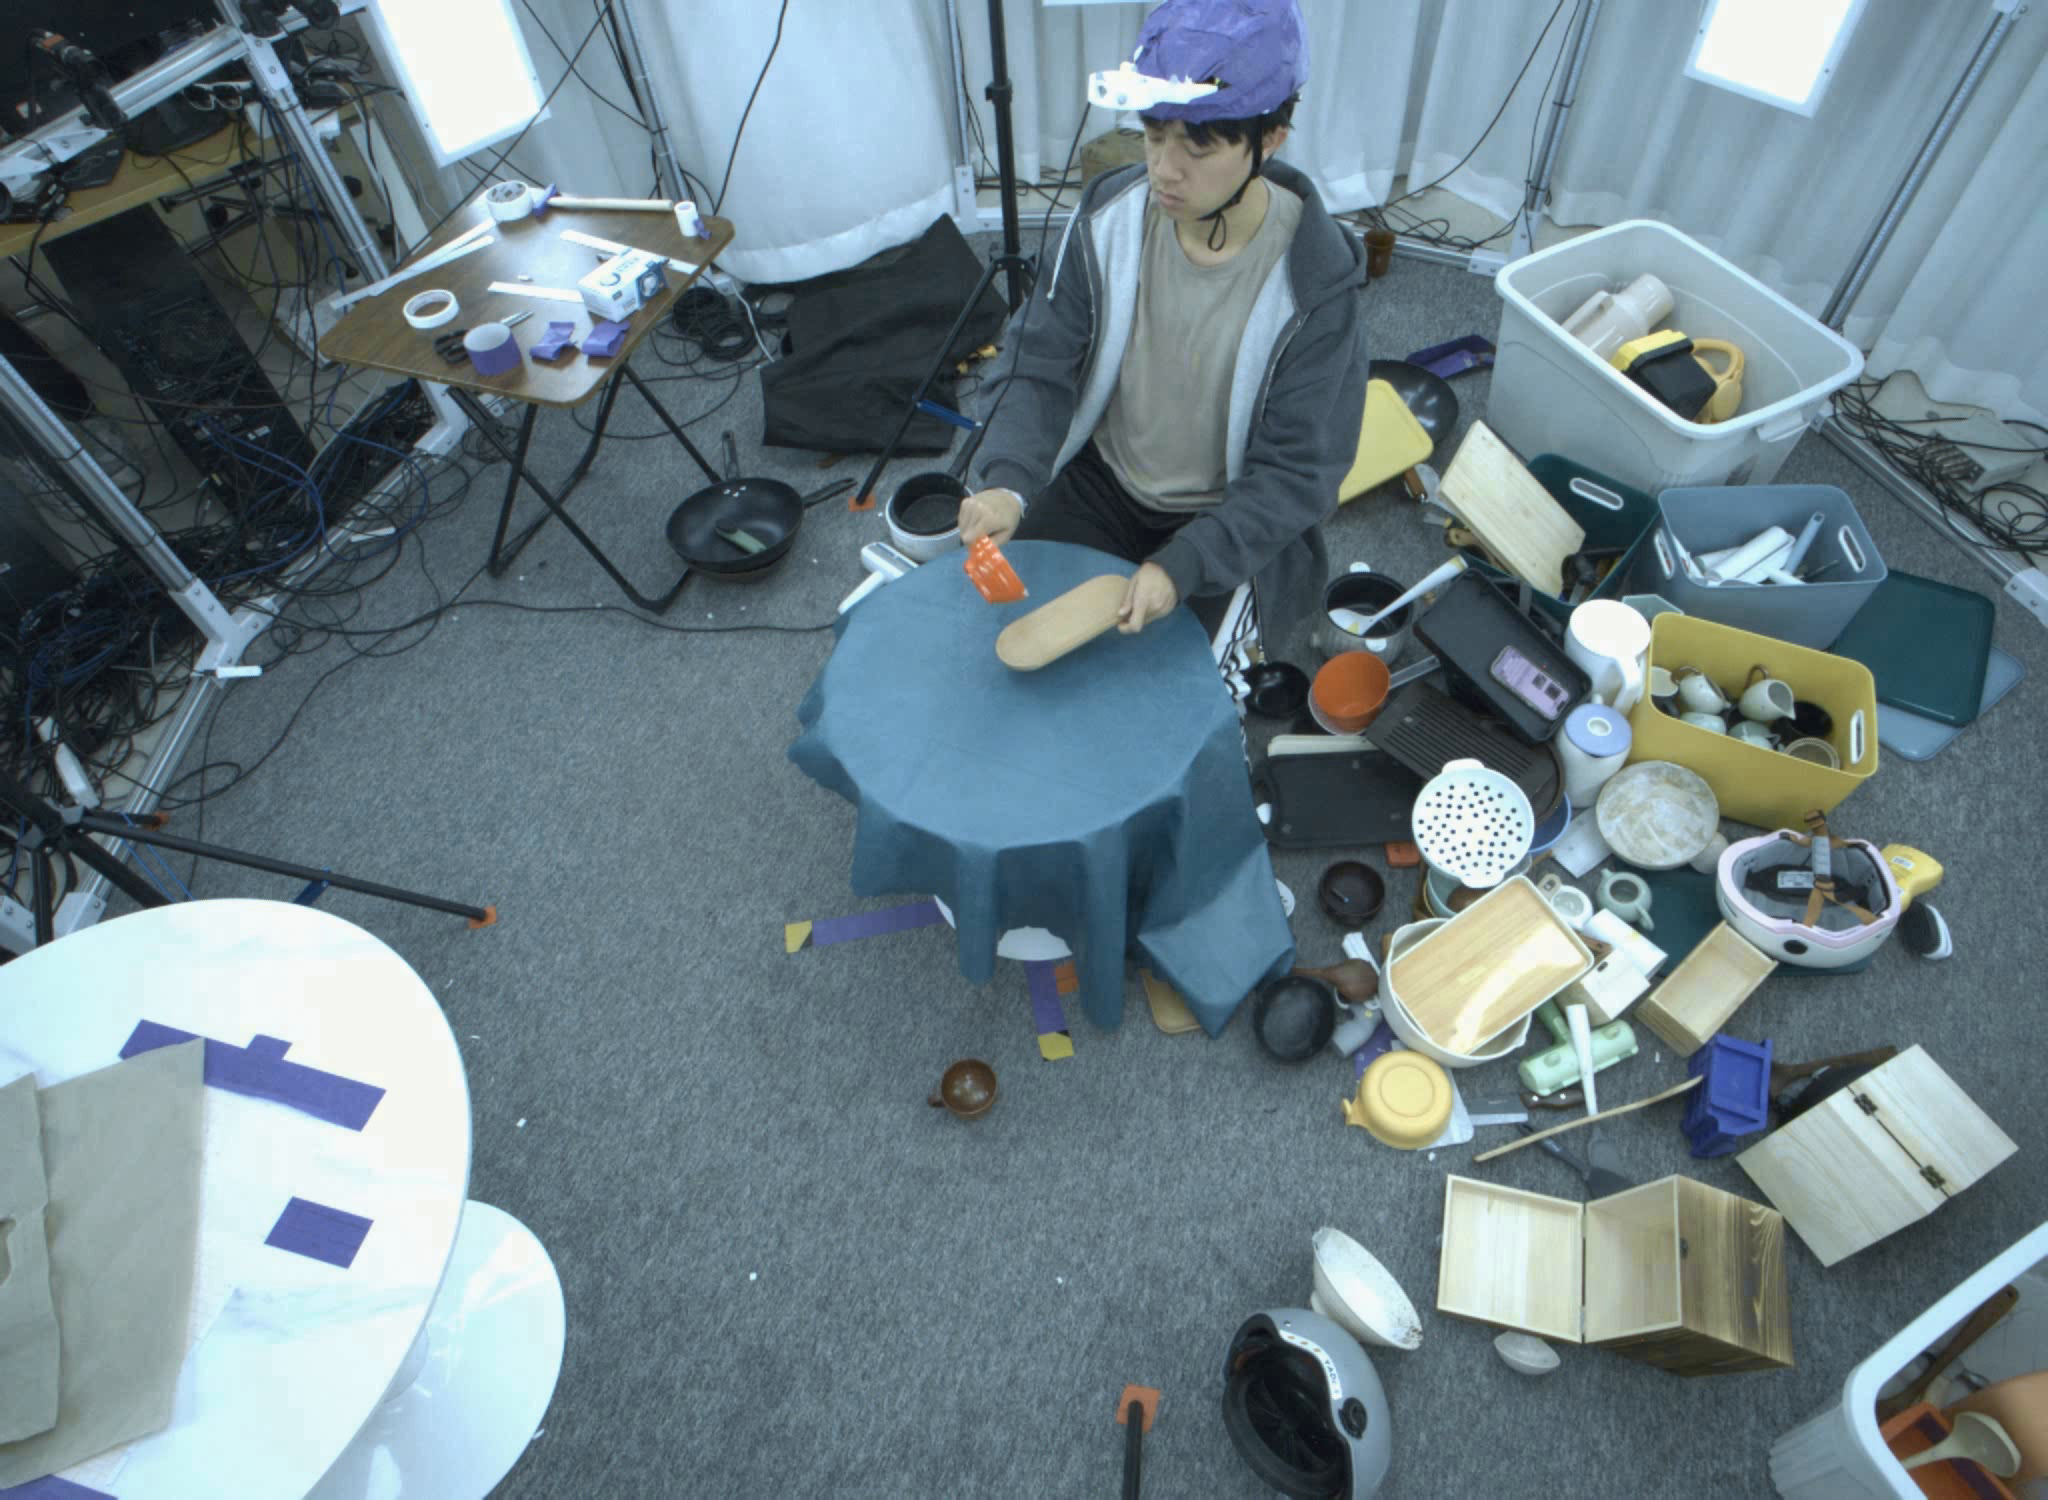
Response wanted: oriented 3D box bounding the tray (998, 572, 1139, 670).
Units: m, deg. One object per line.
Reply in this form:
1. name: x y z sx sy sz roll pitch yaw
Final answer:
1. tray: 0.067 -0.193 1.844 0.232 0.020 0.099 -30 52 -8

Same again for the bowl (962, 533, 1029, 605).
1. bowl: -0.047 -0.247 1.732 0.051 0.121 0.116 -37 59 1
